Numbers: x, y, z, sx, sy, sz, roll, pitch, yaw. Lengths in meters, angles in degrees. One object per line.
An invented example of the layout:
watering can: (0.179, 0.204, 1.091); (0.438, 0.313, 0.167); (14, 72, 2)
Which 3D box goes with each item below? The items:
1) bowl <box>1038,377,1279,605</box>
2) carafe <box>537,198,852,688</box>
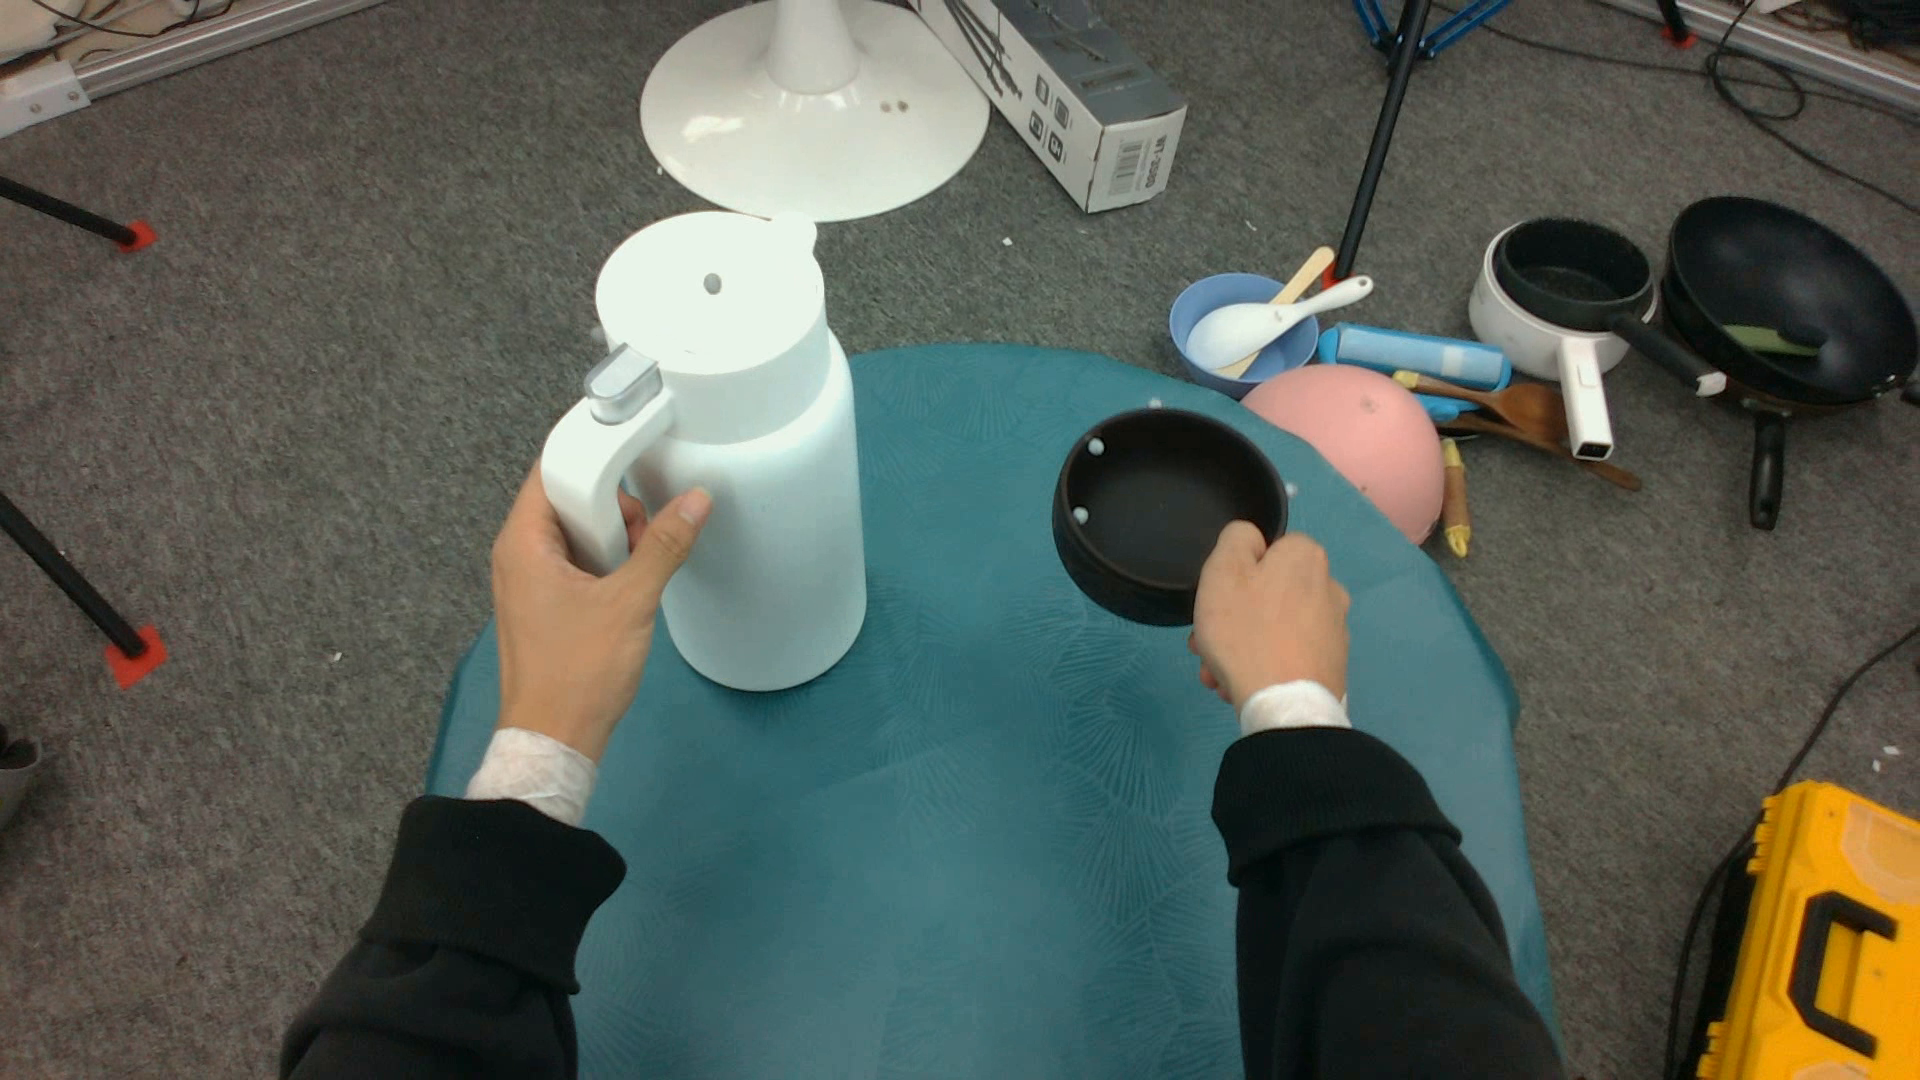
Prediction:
bowl: (0.097, -0.018, 0.702); (0.118, 0.069, 0.118); (3, 57, -4)
carafe: (-0.125, -0.024, 0.700); (0.124, 0.267, 0.173); (29, 58, 14)
